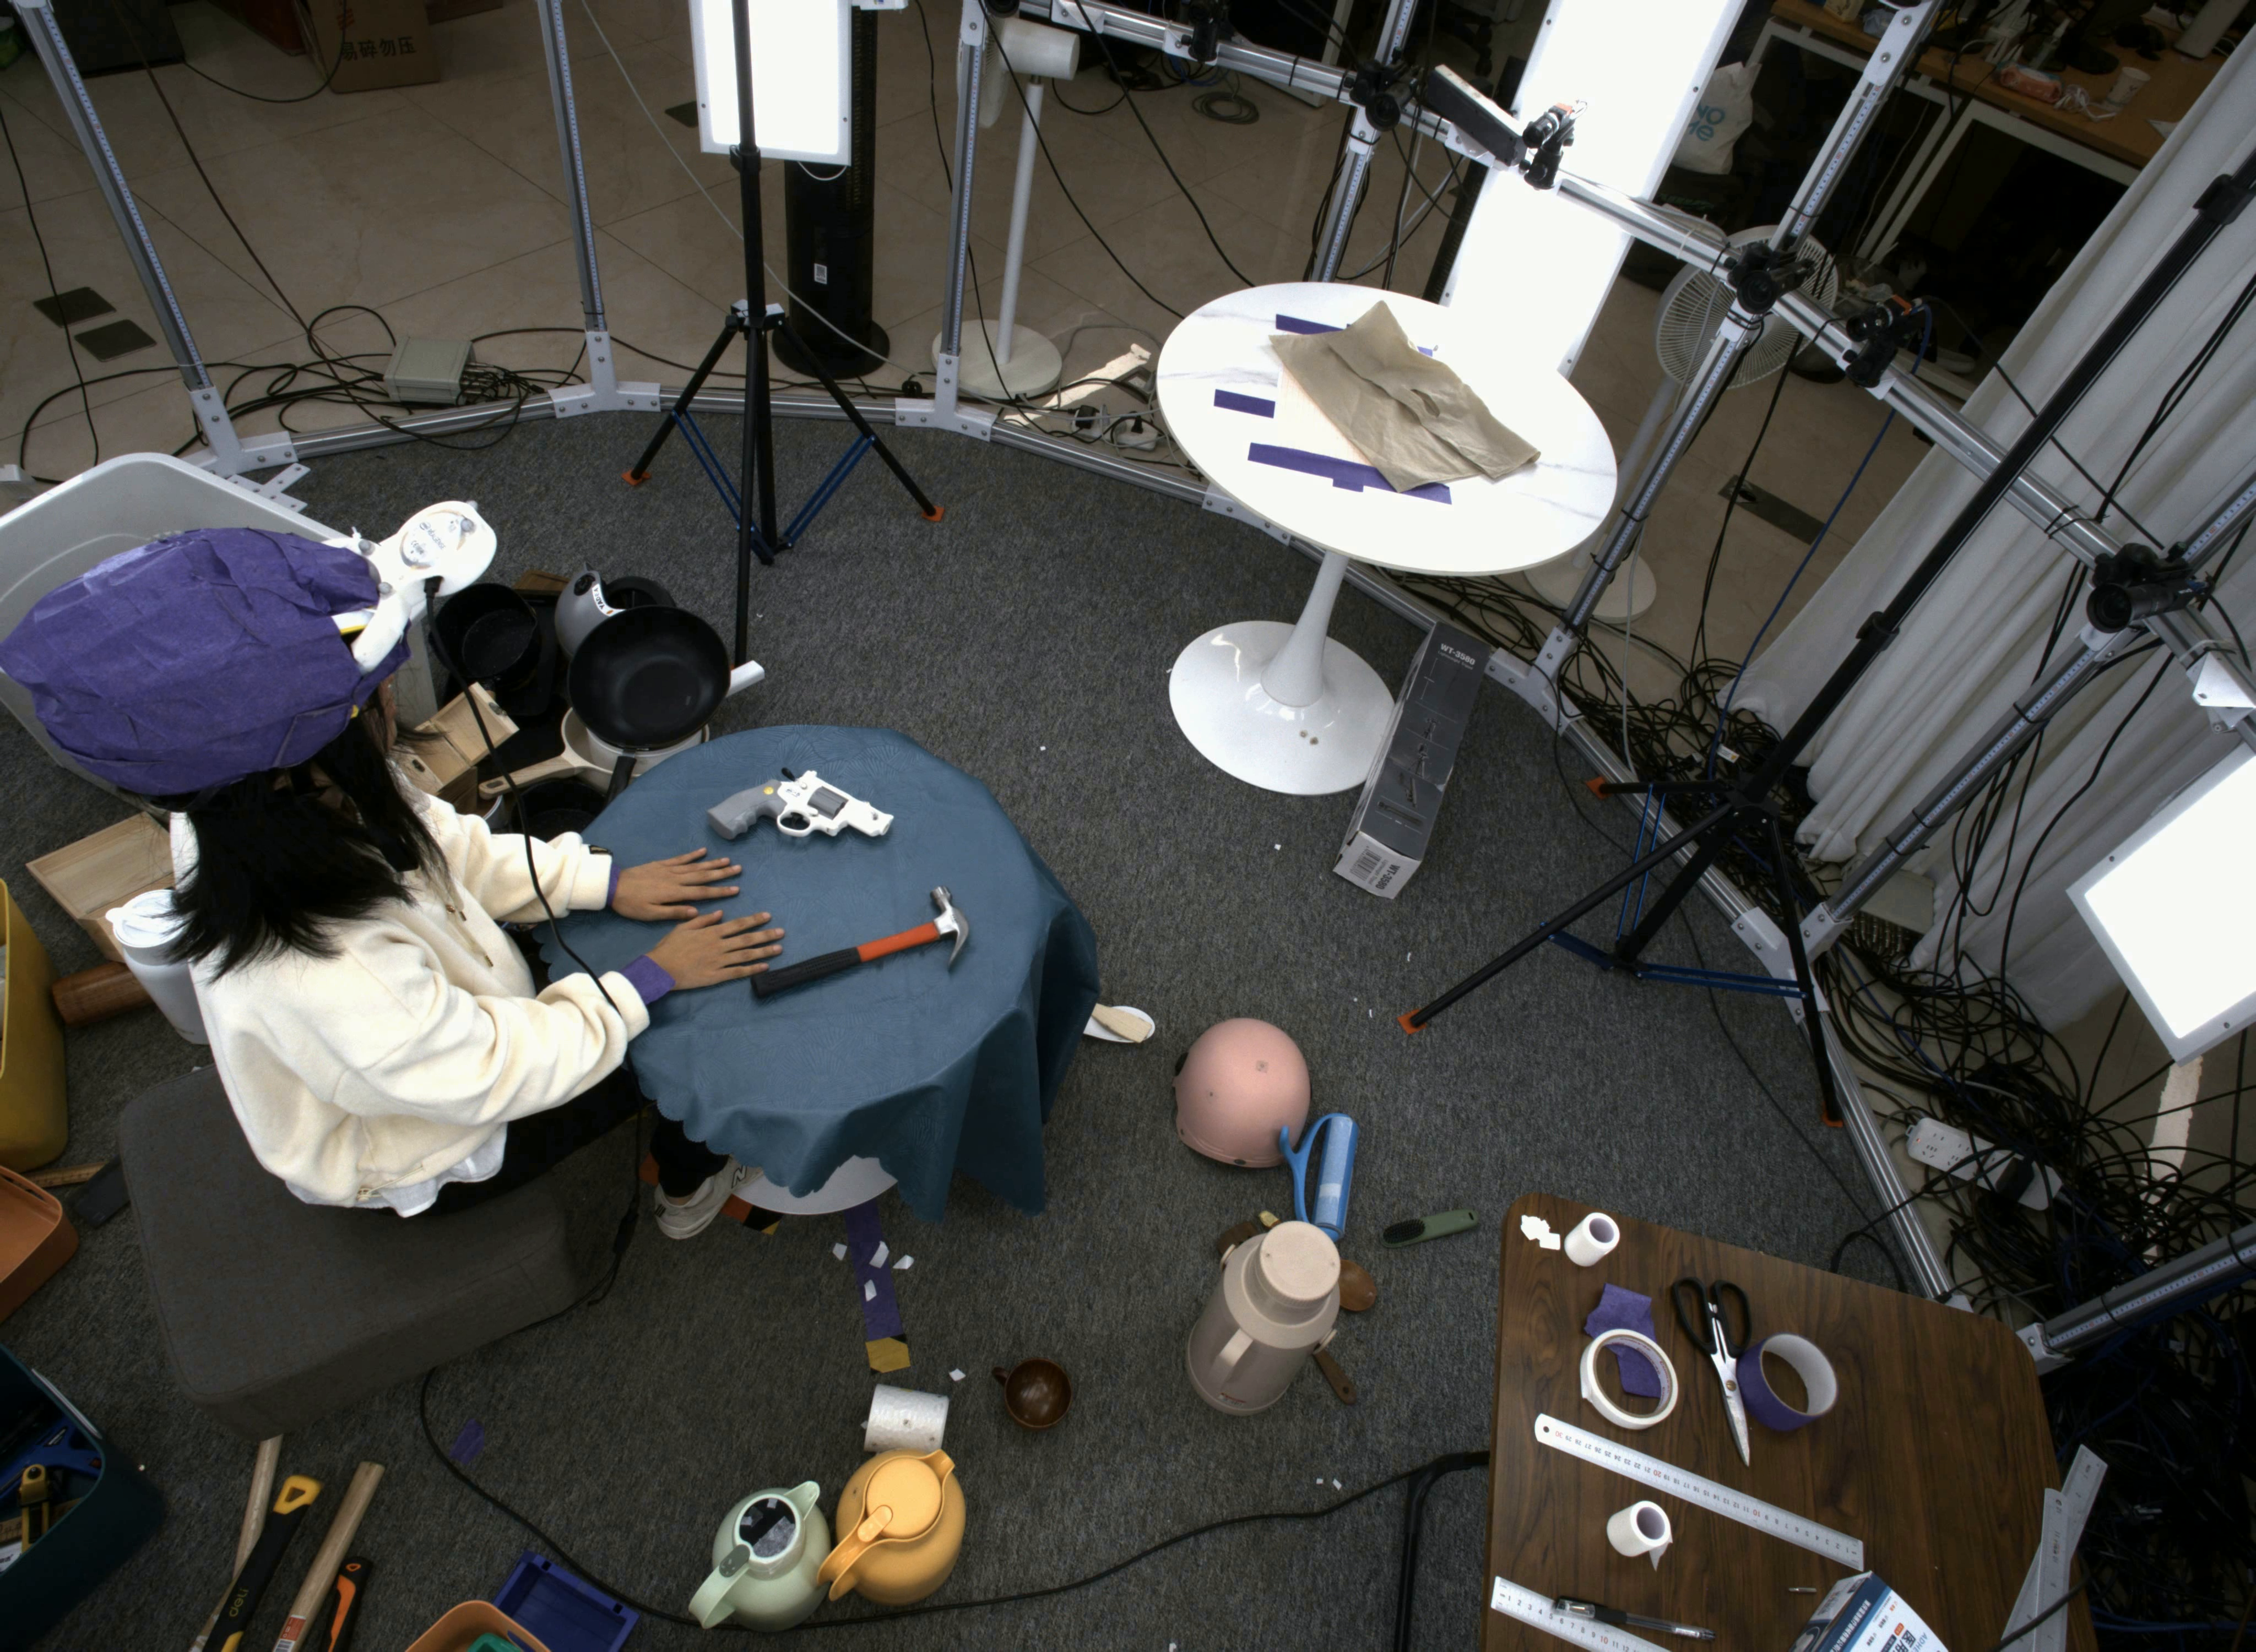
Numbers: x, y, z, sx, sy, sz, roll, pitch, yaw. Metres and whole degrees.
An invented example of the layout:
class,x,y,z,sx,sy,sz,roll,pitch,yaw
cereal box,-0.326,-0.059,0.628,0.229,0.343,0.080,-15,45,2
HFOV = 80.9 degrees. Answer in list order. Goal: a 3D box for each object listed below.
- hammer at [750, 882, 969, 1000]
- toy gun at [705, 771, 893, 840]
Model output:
class,x,y,z,sx,sy,sz,roll,pitch,yaw
hammer,-0.328,0.156,1.609,0.279,0.026,0.109,-17,69,-25
toy gun,-0.432,-0.012,1.701,0.206,0.039,0.140,25,50,4
